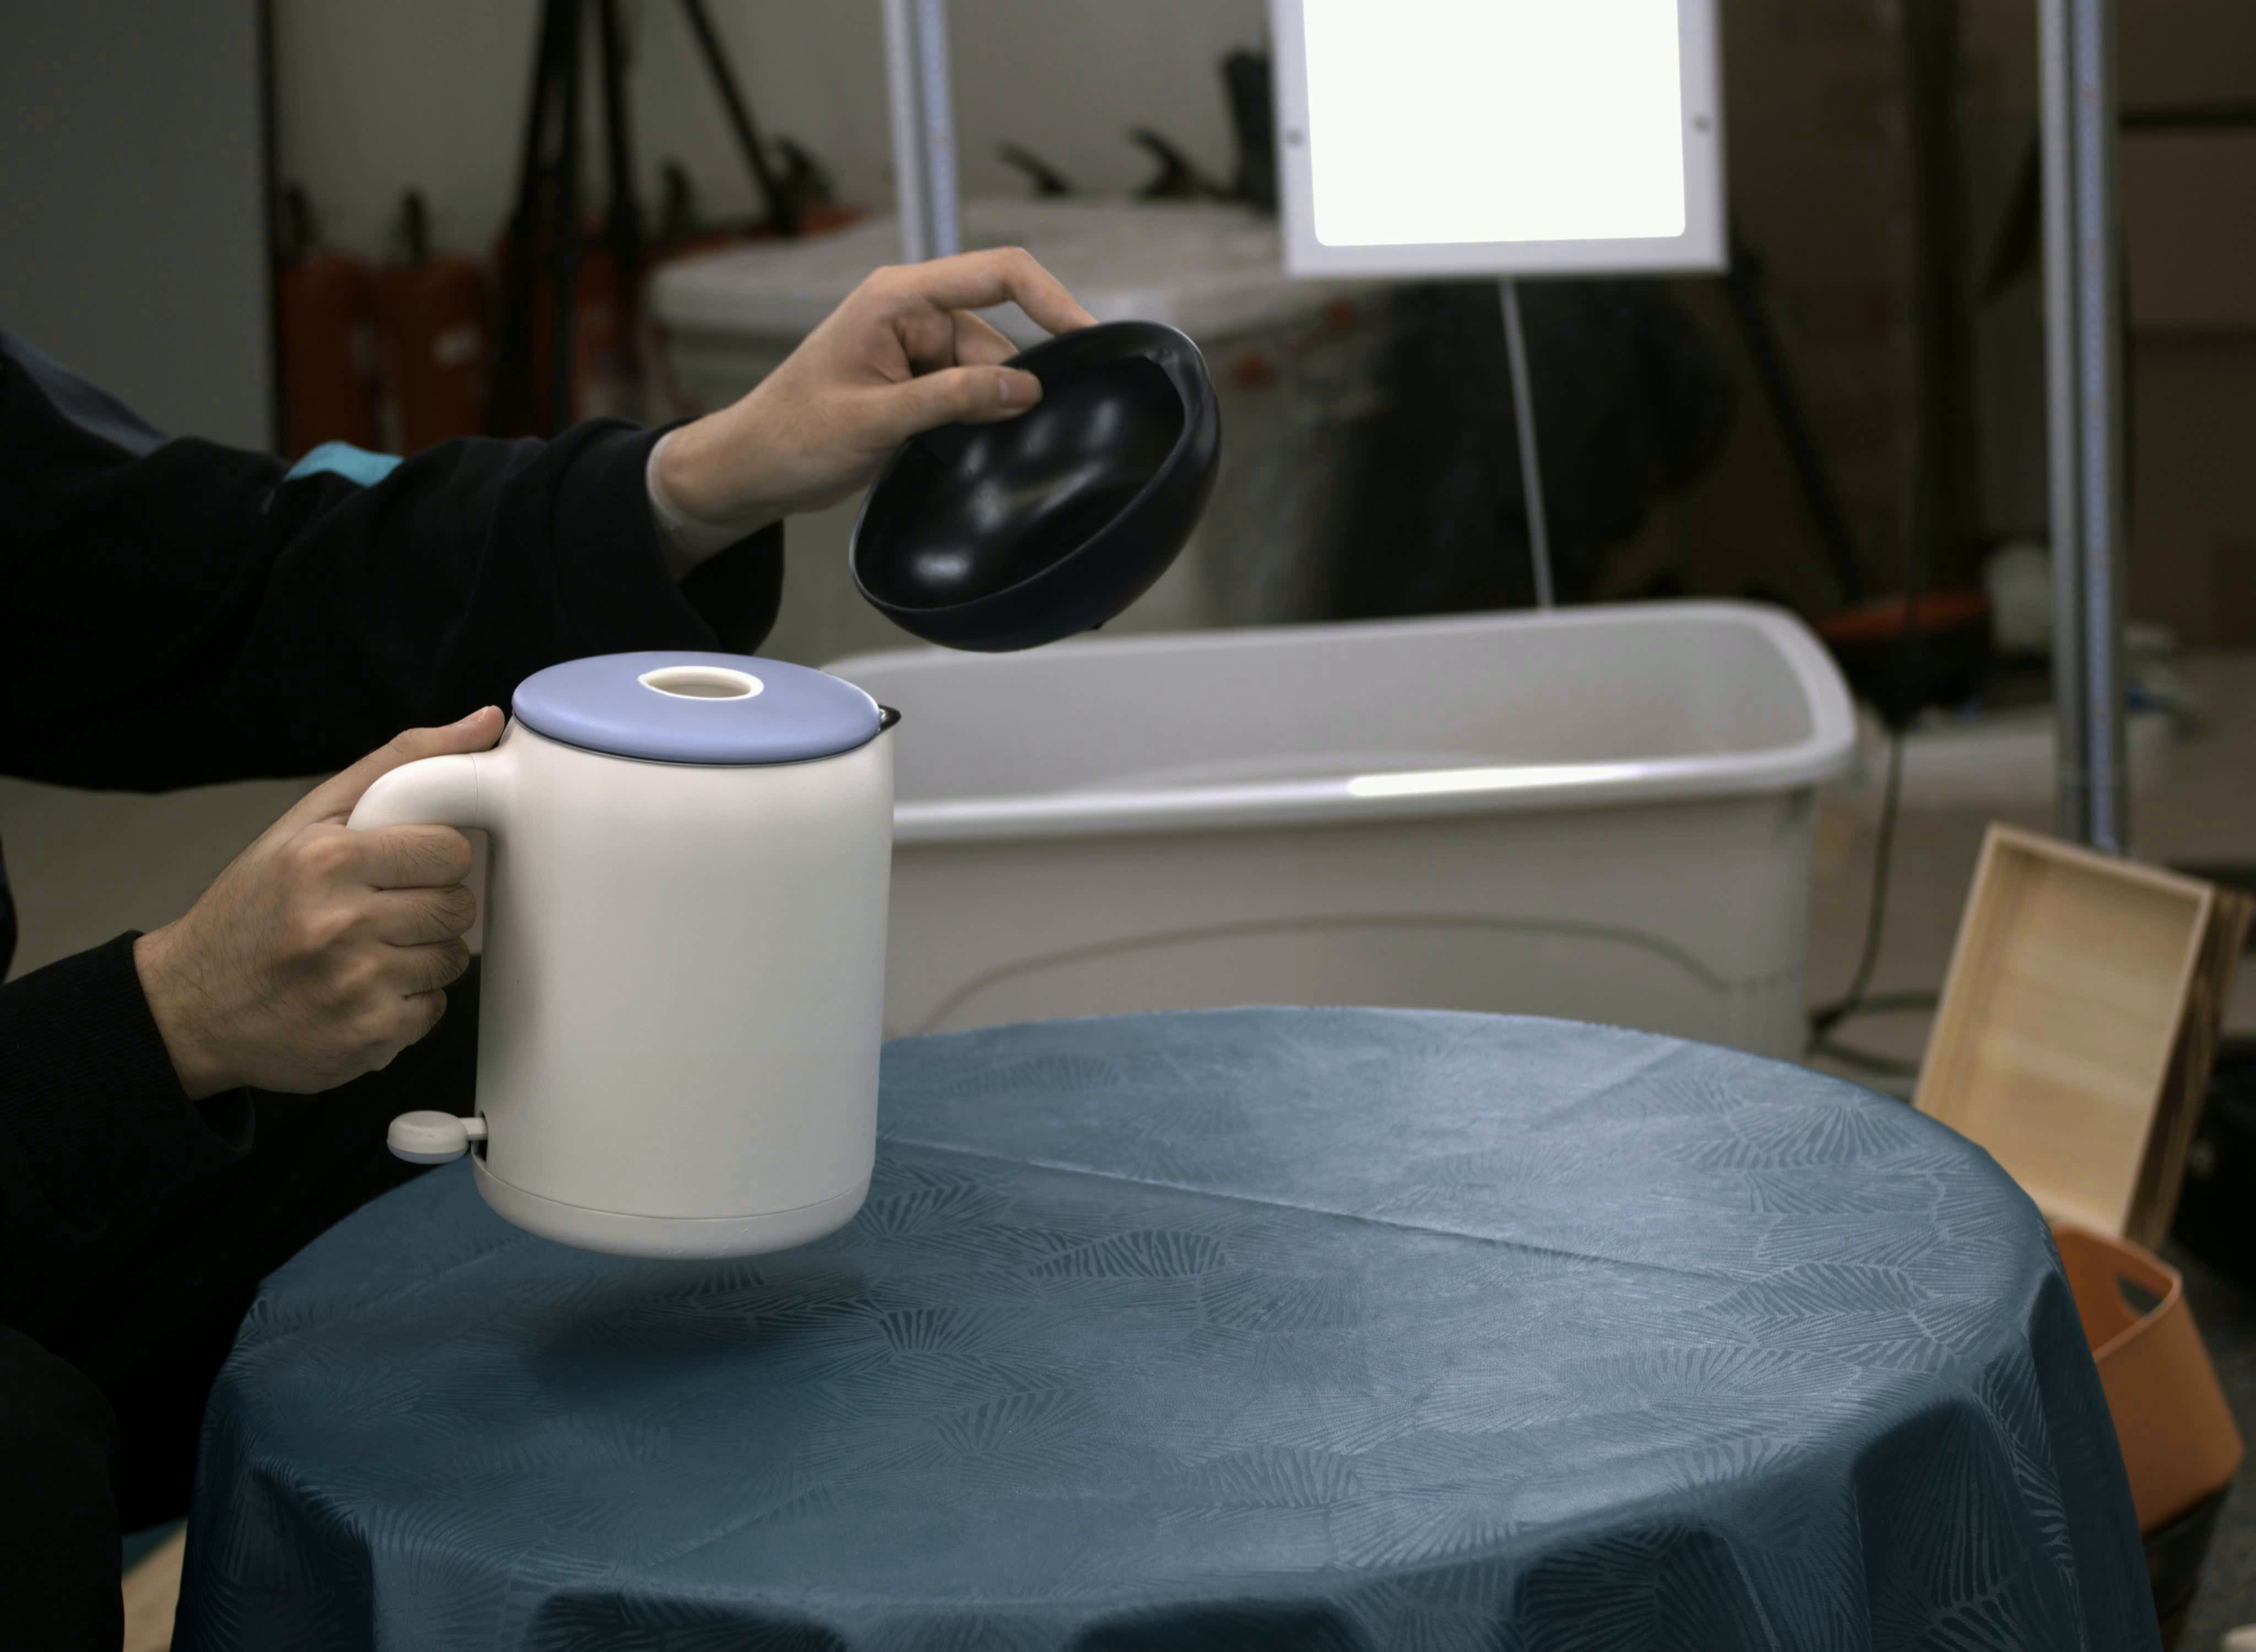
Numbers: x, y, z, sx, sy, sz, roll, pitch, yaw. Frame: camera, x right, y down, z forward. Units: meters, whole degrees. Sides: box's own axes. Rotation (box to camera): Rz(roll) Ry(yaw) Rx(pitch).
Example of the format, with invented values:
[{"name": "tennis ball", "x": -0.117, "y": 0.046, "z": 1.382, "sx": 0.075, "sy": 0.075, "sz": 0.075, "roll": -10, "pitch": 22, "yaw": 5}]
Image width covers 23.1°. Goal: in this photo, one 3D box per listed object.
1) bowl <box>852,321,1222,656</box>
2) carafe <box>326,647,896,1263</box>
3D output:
[{"name": "bowl", "x": -0.021, "y": -0.103, "z": 1.836, "sx": 0.142, "sy": 0.049, "sz": 0.139, "roll": -29, "pitch": 32, "yaw": 18}, {"name": "carafe", "x": -0.165, "y": 0.042, "z": 1.772, "sx": 0.188, "sy": 0.183, "sz": 0.134, "roll": -5, "pitch": 16, "yaw": -19}]
